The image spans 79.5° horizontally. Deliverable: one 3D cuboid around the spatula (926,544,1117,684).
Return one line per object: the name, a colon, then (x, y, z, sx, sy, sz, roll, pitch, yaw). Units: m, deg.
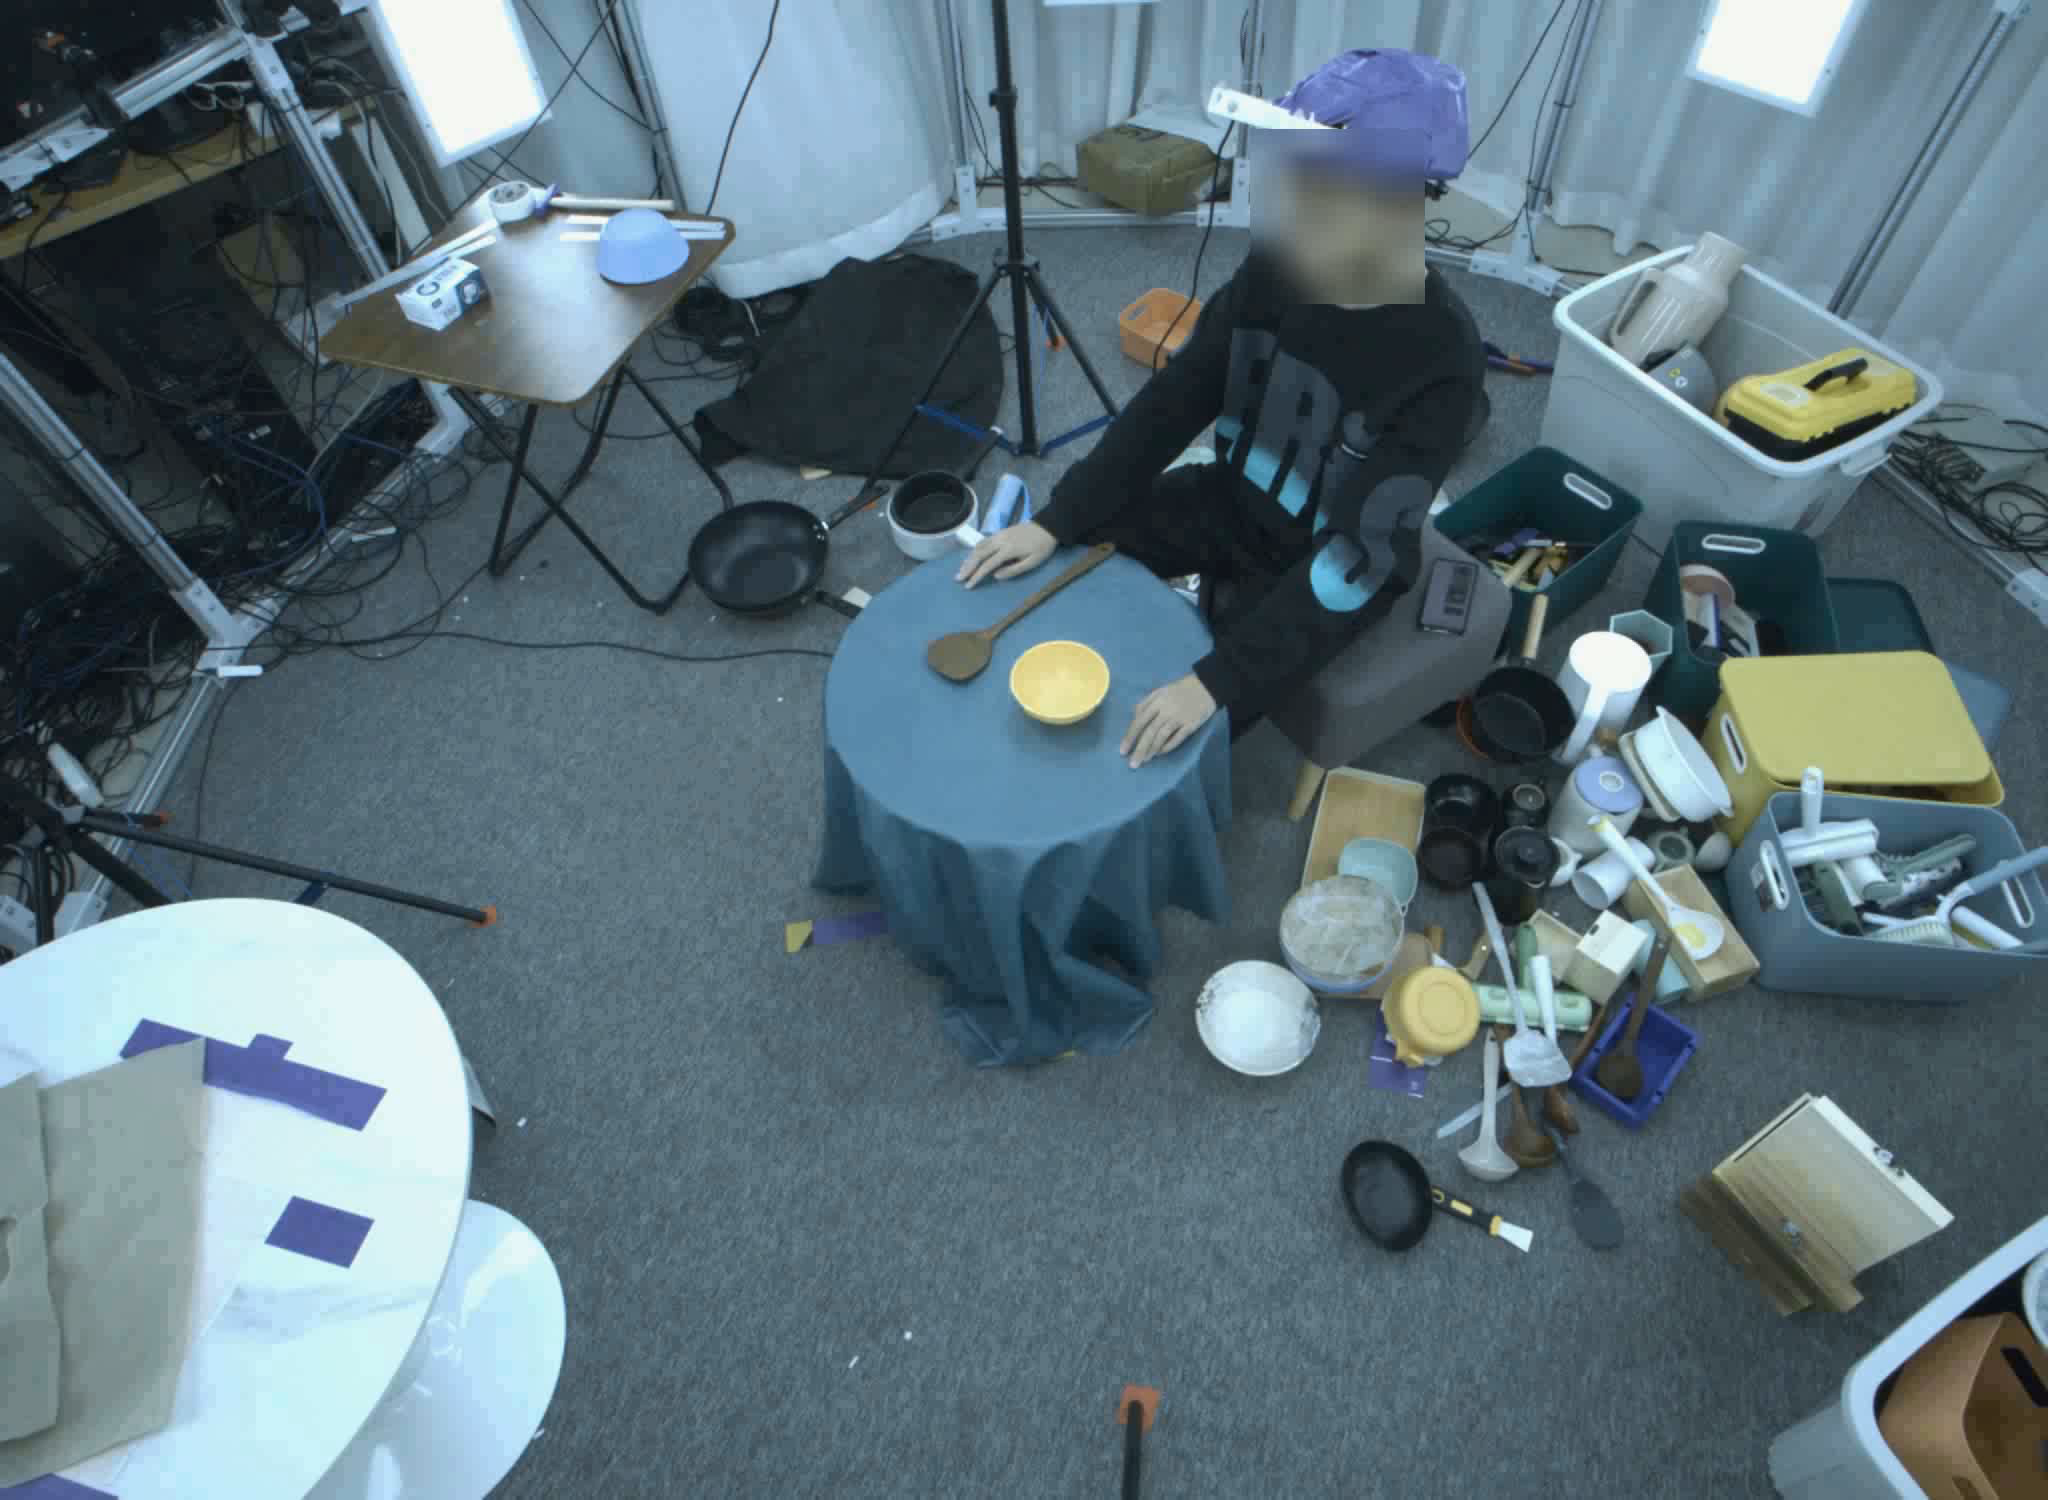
spatula: (0.009, -0.227, 1.949, 0.389, 0.016, 0.094, -39, 63, -23)

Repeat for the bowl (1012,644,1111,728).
bowl: (0.055, -0.083, 1.820, 0.145, 0.060, 0.144, 1, 56, 0)
